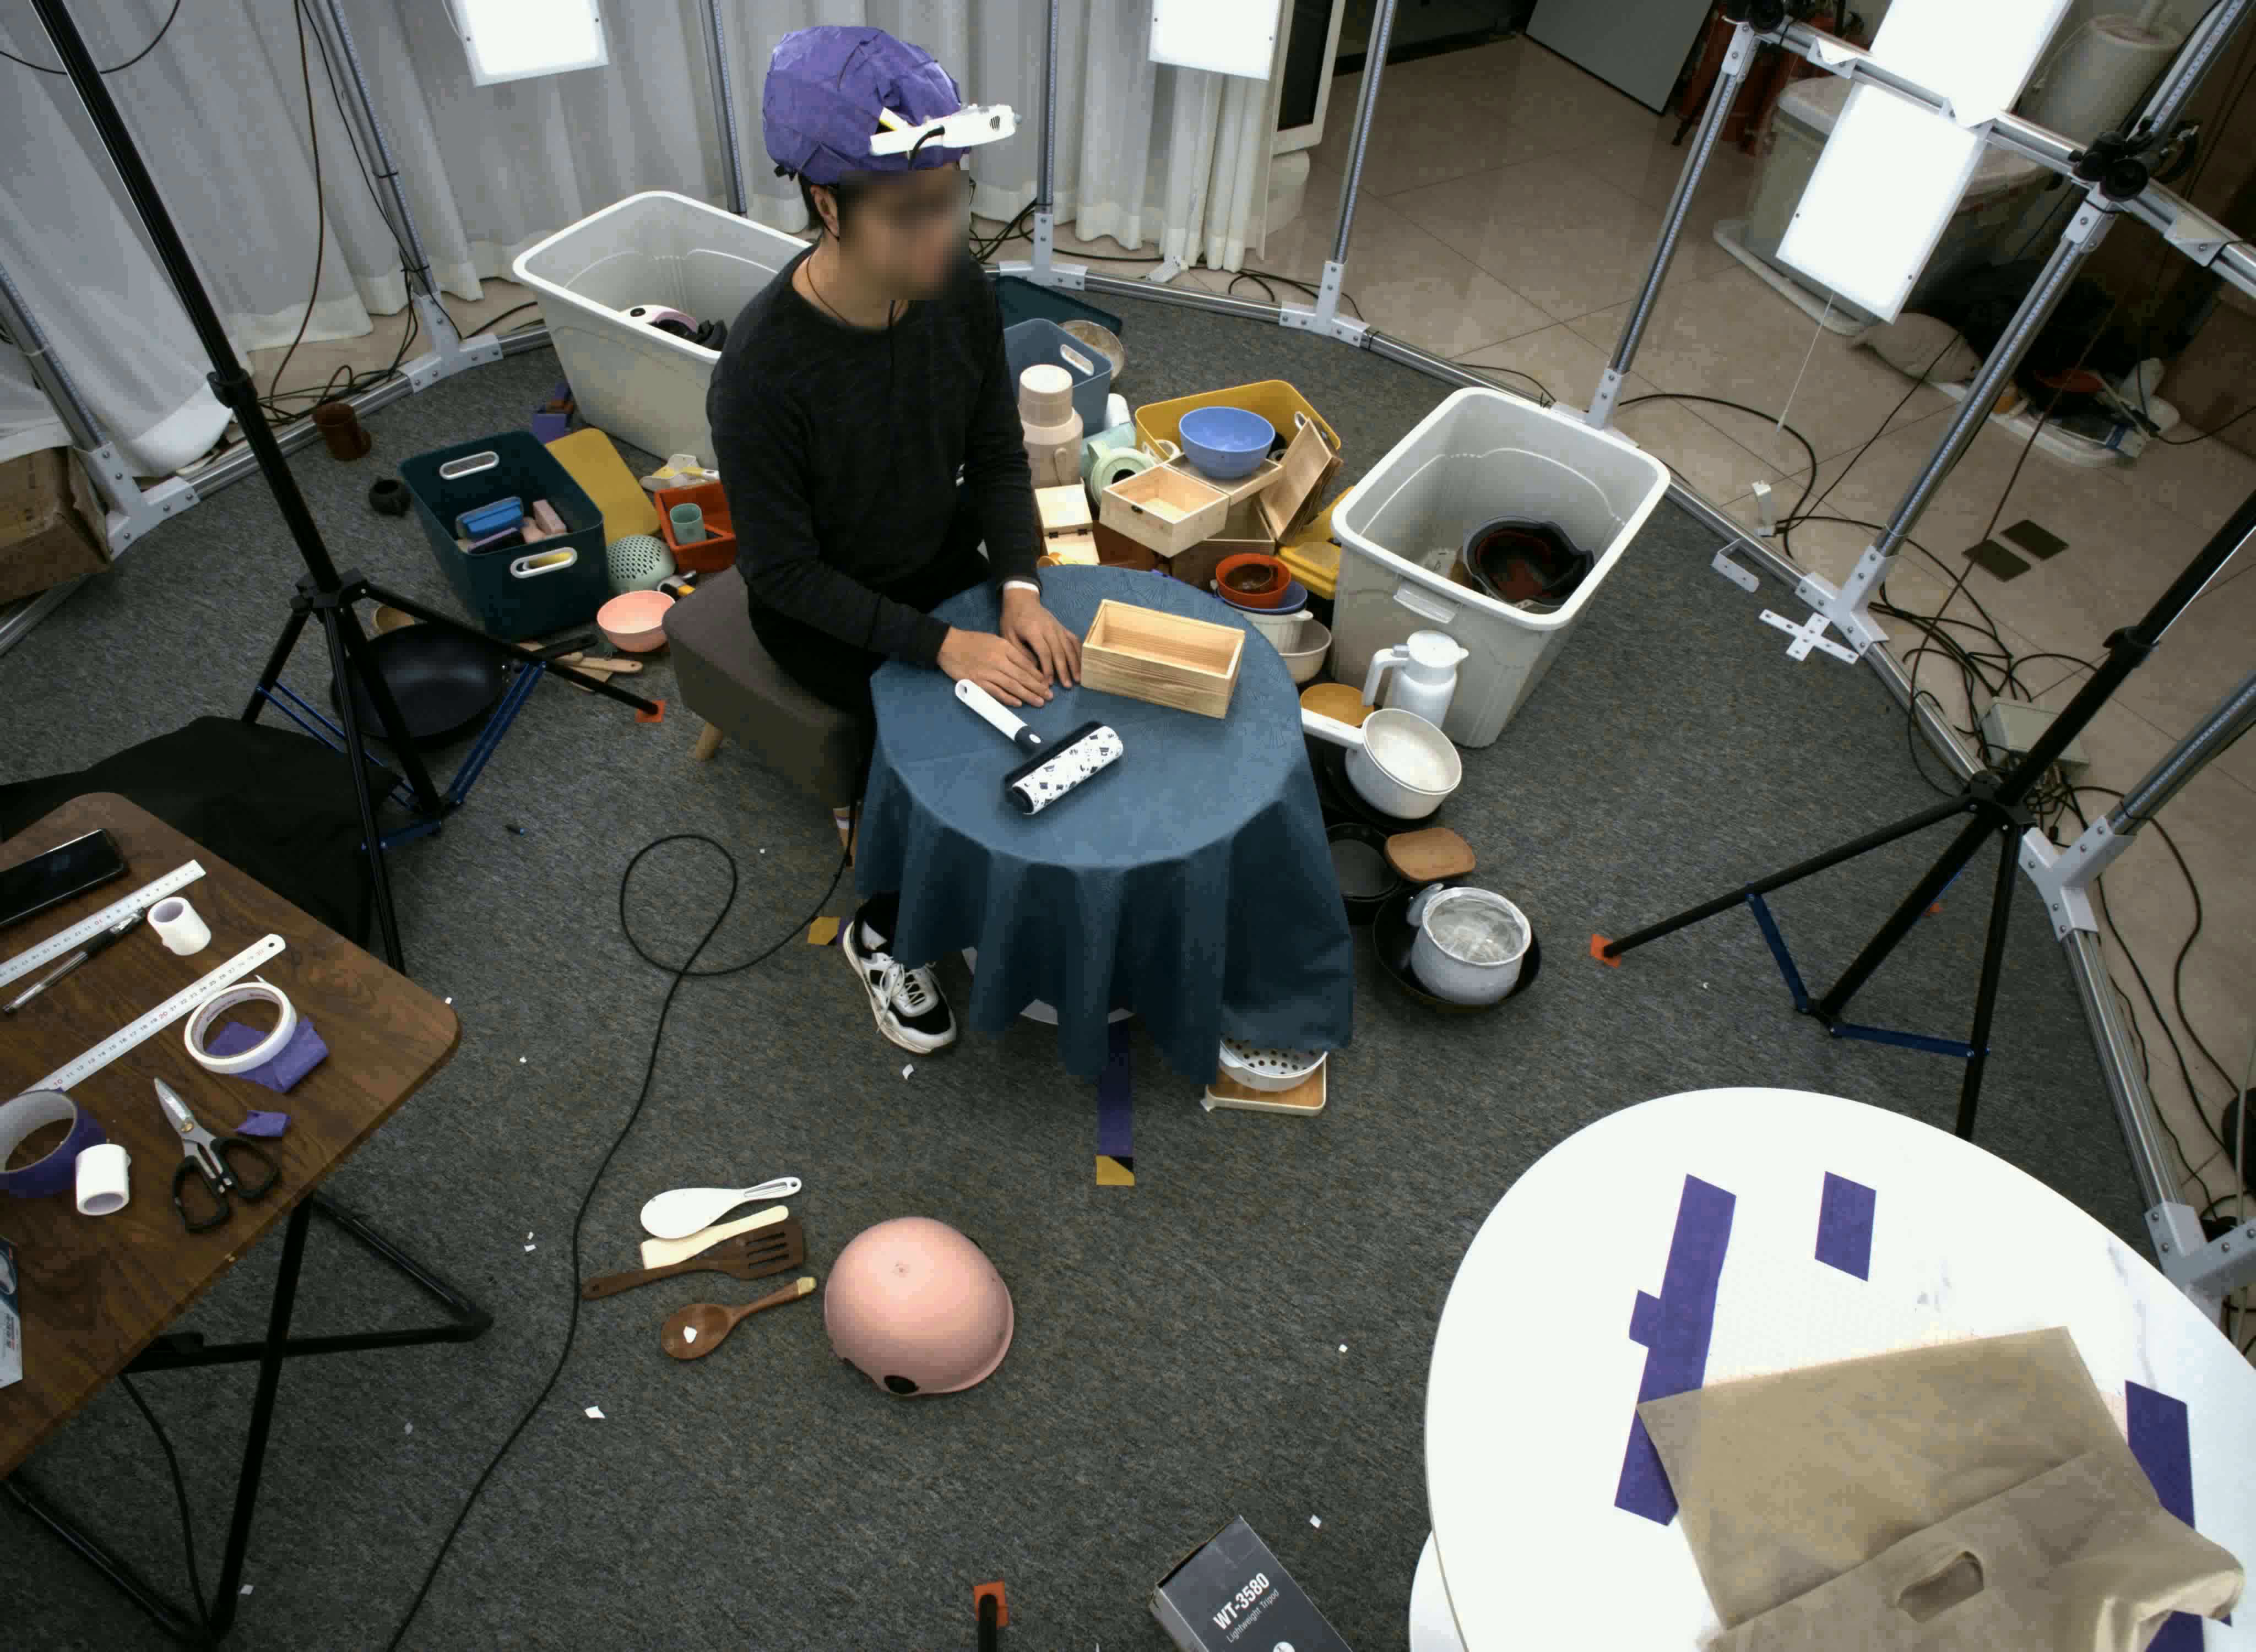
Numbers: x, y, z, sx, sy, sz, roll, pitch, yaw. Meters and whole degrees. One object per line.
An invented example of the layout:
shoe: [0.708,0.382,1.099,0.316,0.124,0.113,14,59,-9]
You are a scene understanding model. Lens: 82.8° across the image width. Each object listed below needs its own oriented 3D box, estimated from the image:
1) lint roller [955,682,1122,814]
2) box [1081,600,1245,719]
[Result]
lint roller: [-0.152,-0.131,1.745,0.178,0.049,0.251,-36,59,-28]
box: [0.049,-0.239,1.829,0.212,0.078,0.110,13,49,8]
